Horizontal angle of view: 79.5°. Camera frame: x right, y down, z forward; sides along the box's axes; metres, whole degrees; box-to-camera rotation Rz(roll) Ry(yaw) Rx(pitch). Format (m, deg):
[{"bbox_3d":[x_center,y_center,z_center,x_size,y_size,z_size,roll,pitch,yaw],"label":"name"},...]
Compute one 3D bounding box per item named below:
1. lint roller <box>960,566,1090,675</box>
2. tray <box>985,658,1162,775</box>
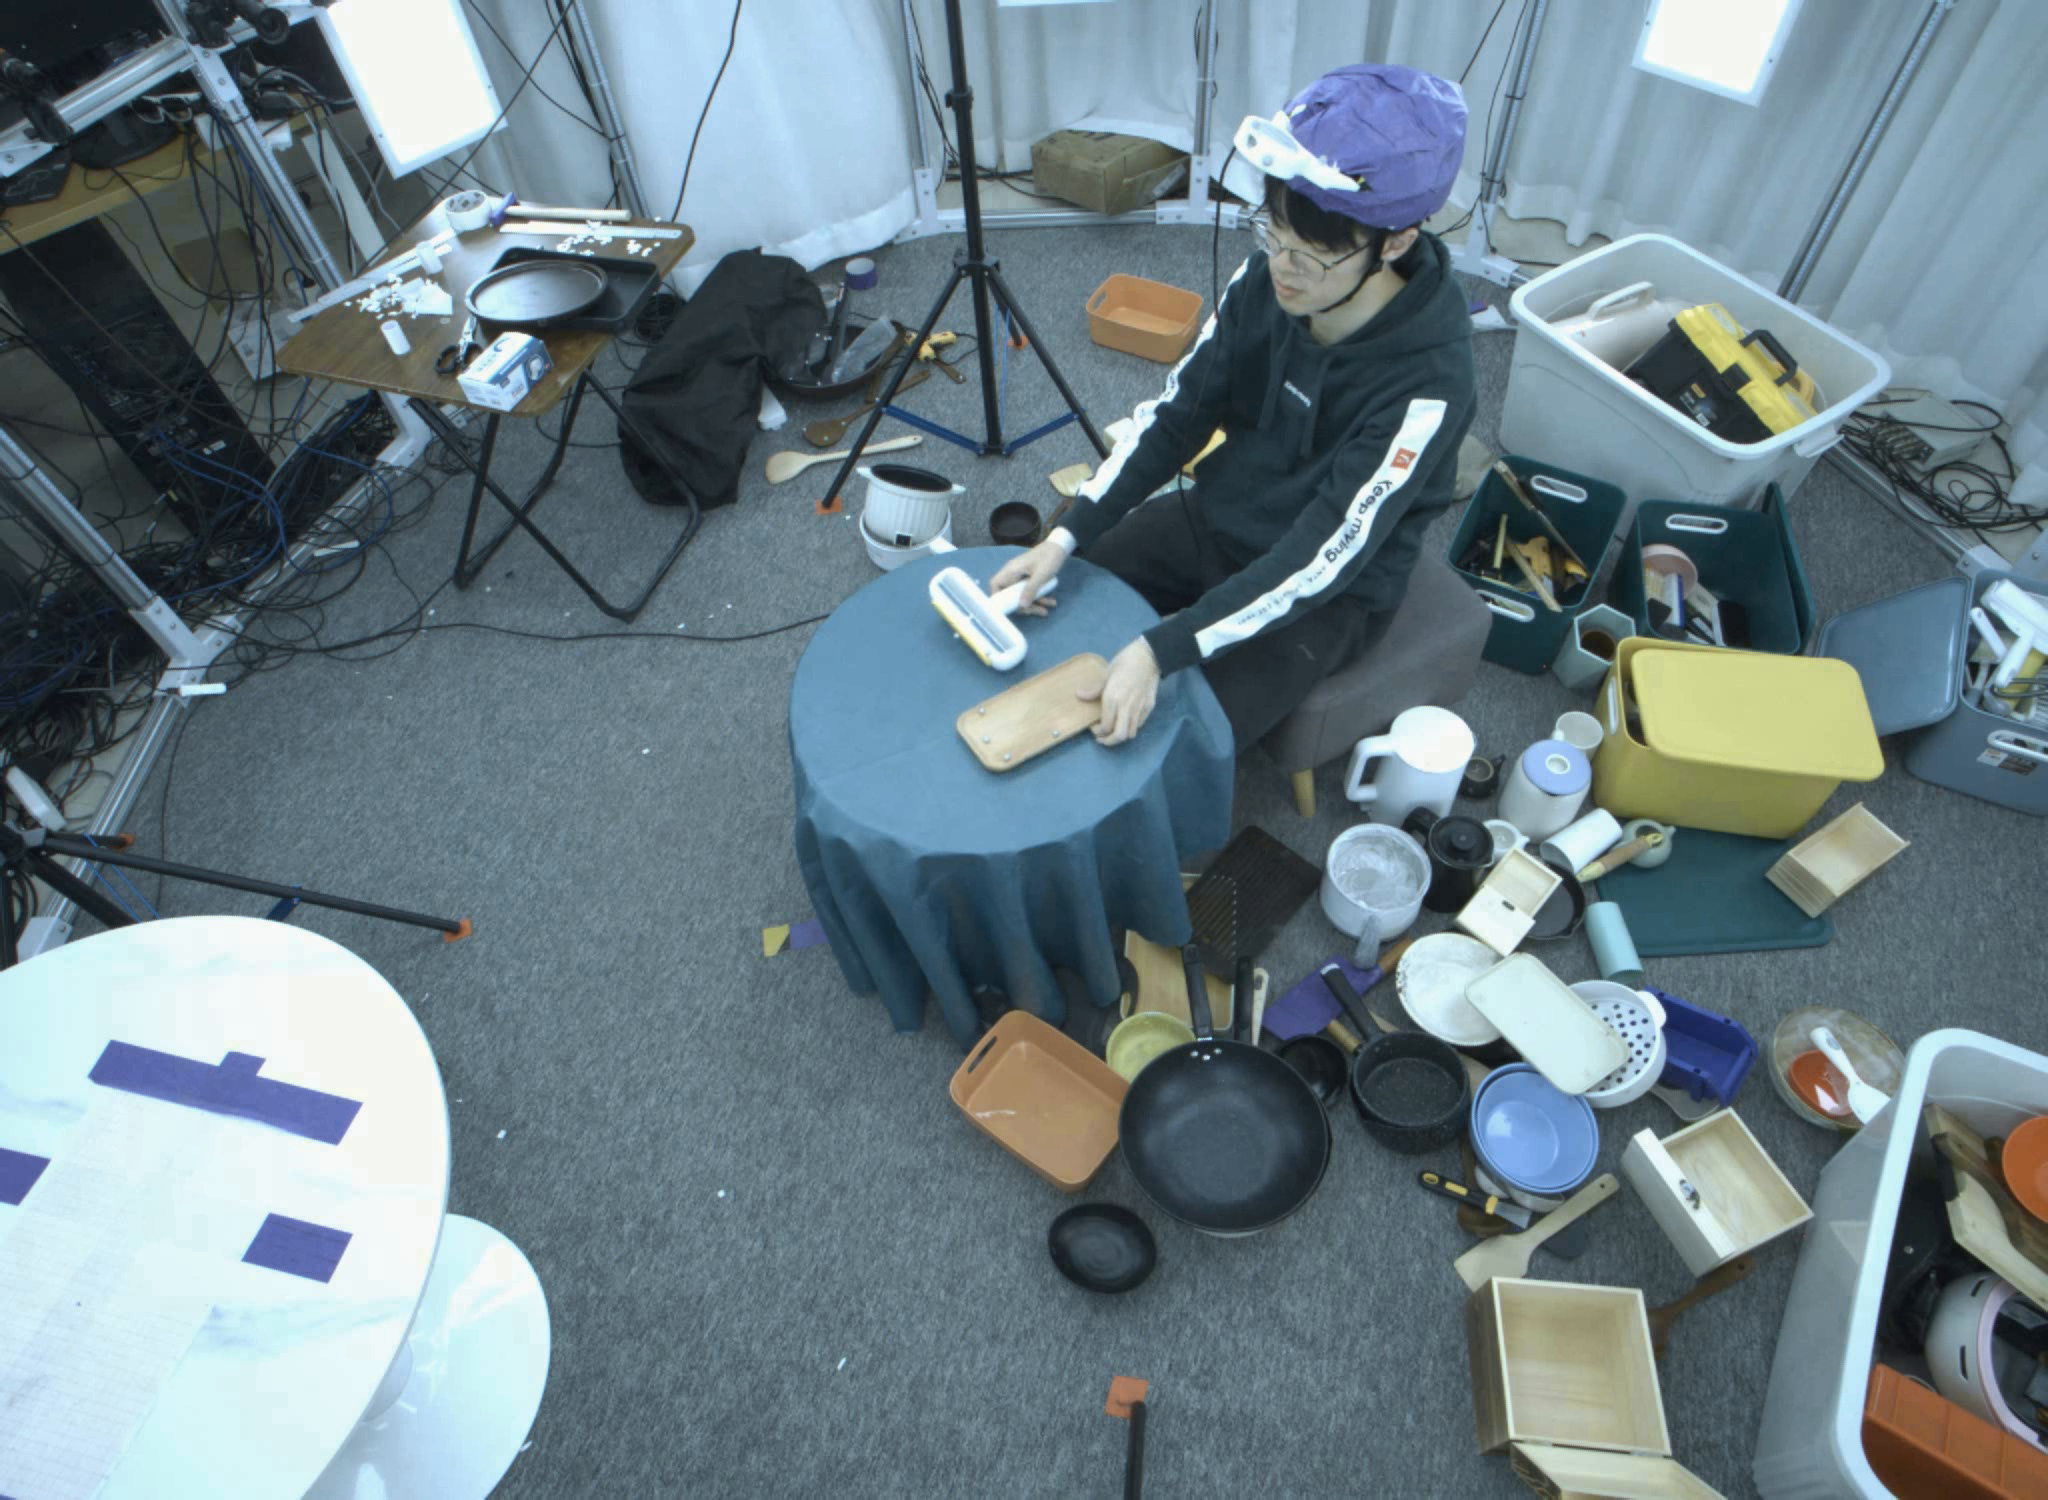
[{"bbox_3d":[0.020,-0.216,1.908,0.194,0.074,0.190,-25,66,-24],"label":"lint roller"},{"bbox_3d":[0.073,-0.050,1.802,0.253,0.023,0.128,-24,56,-15],"label":"tray"}]
